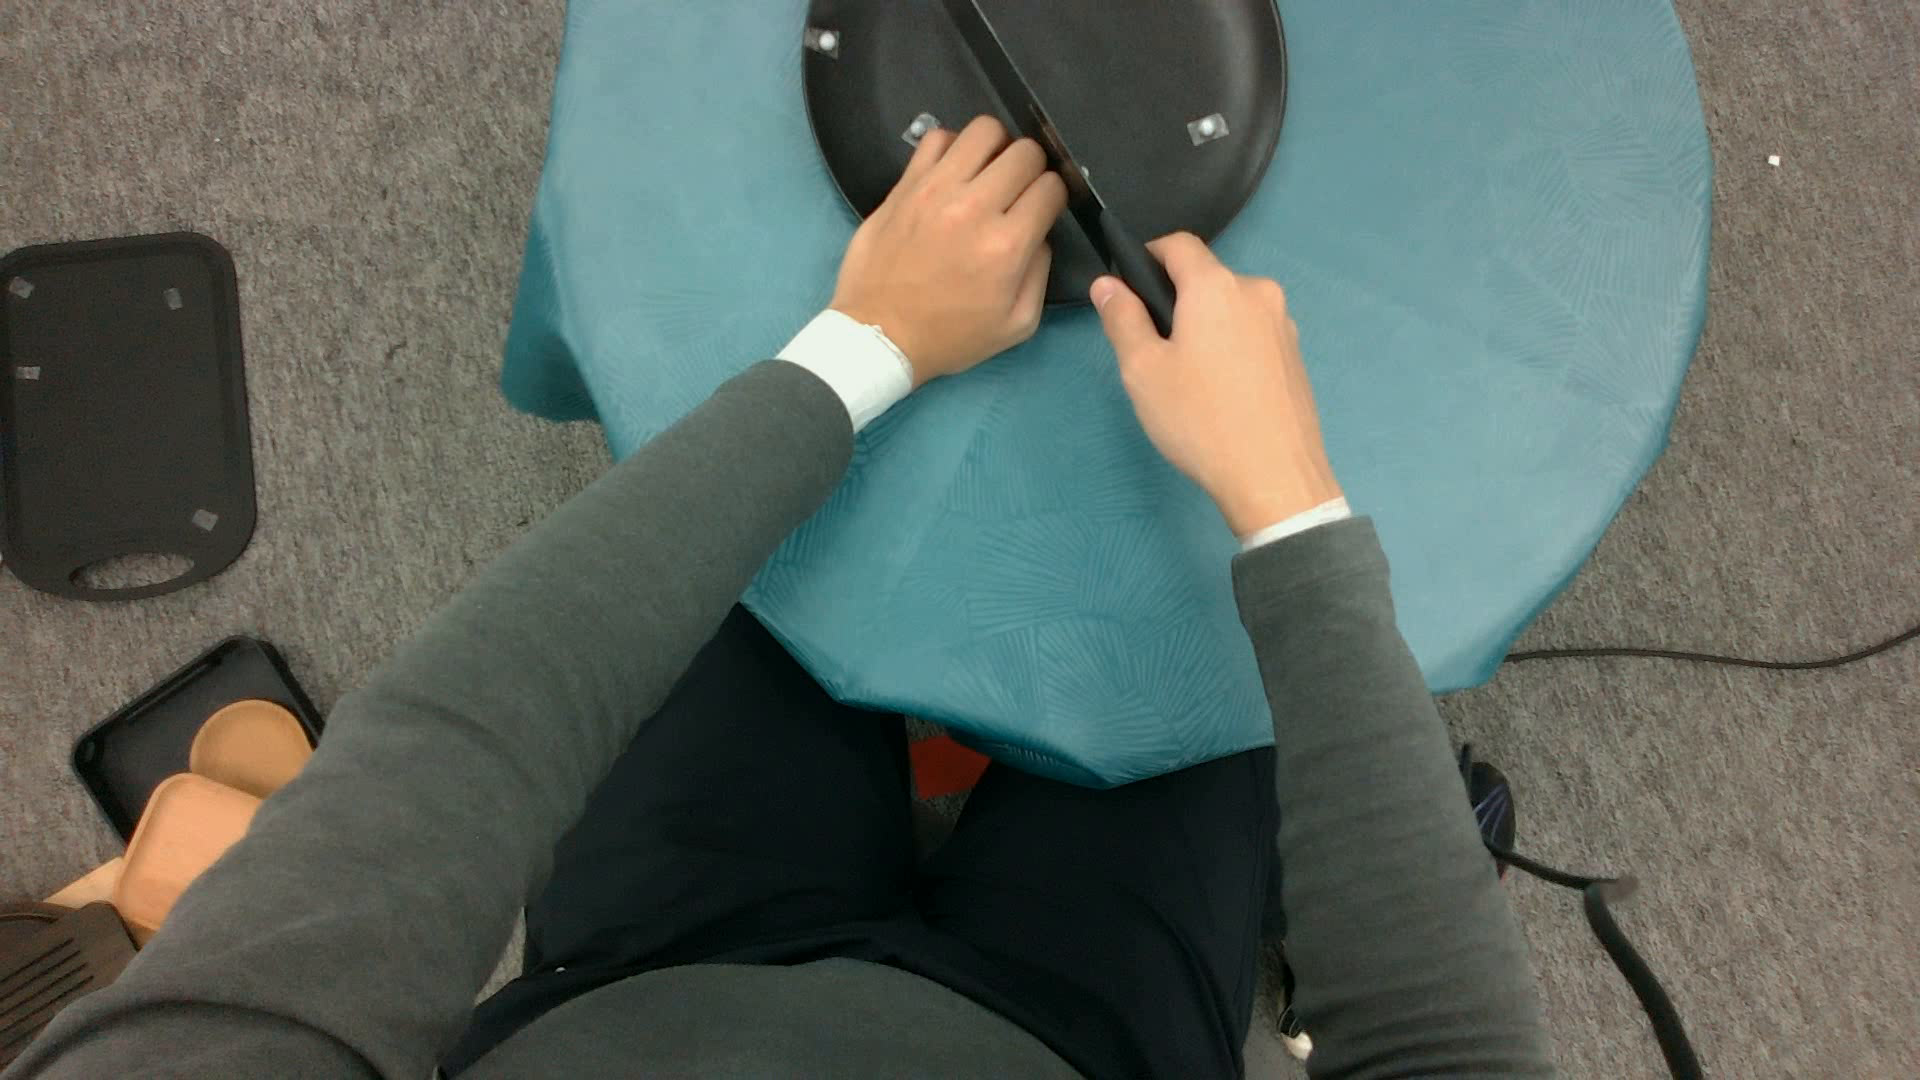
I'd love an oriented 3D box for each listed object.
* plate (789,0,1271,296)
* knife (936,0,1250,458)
[{"bbox_3d":[0.036,-0.241,0.699,0.244,0.023,0.244,0,84,-3],"label":"plate"},{"bbox_3d":[0.047,-0.169,0.640,0.021,0.081,0.302,-31,79,0],"label":"knife"}]
